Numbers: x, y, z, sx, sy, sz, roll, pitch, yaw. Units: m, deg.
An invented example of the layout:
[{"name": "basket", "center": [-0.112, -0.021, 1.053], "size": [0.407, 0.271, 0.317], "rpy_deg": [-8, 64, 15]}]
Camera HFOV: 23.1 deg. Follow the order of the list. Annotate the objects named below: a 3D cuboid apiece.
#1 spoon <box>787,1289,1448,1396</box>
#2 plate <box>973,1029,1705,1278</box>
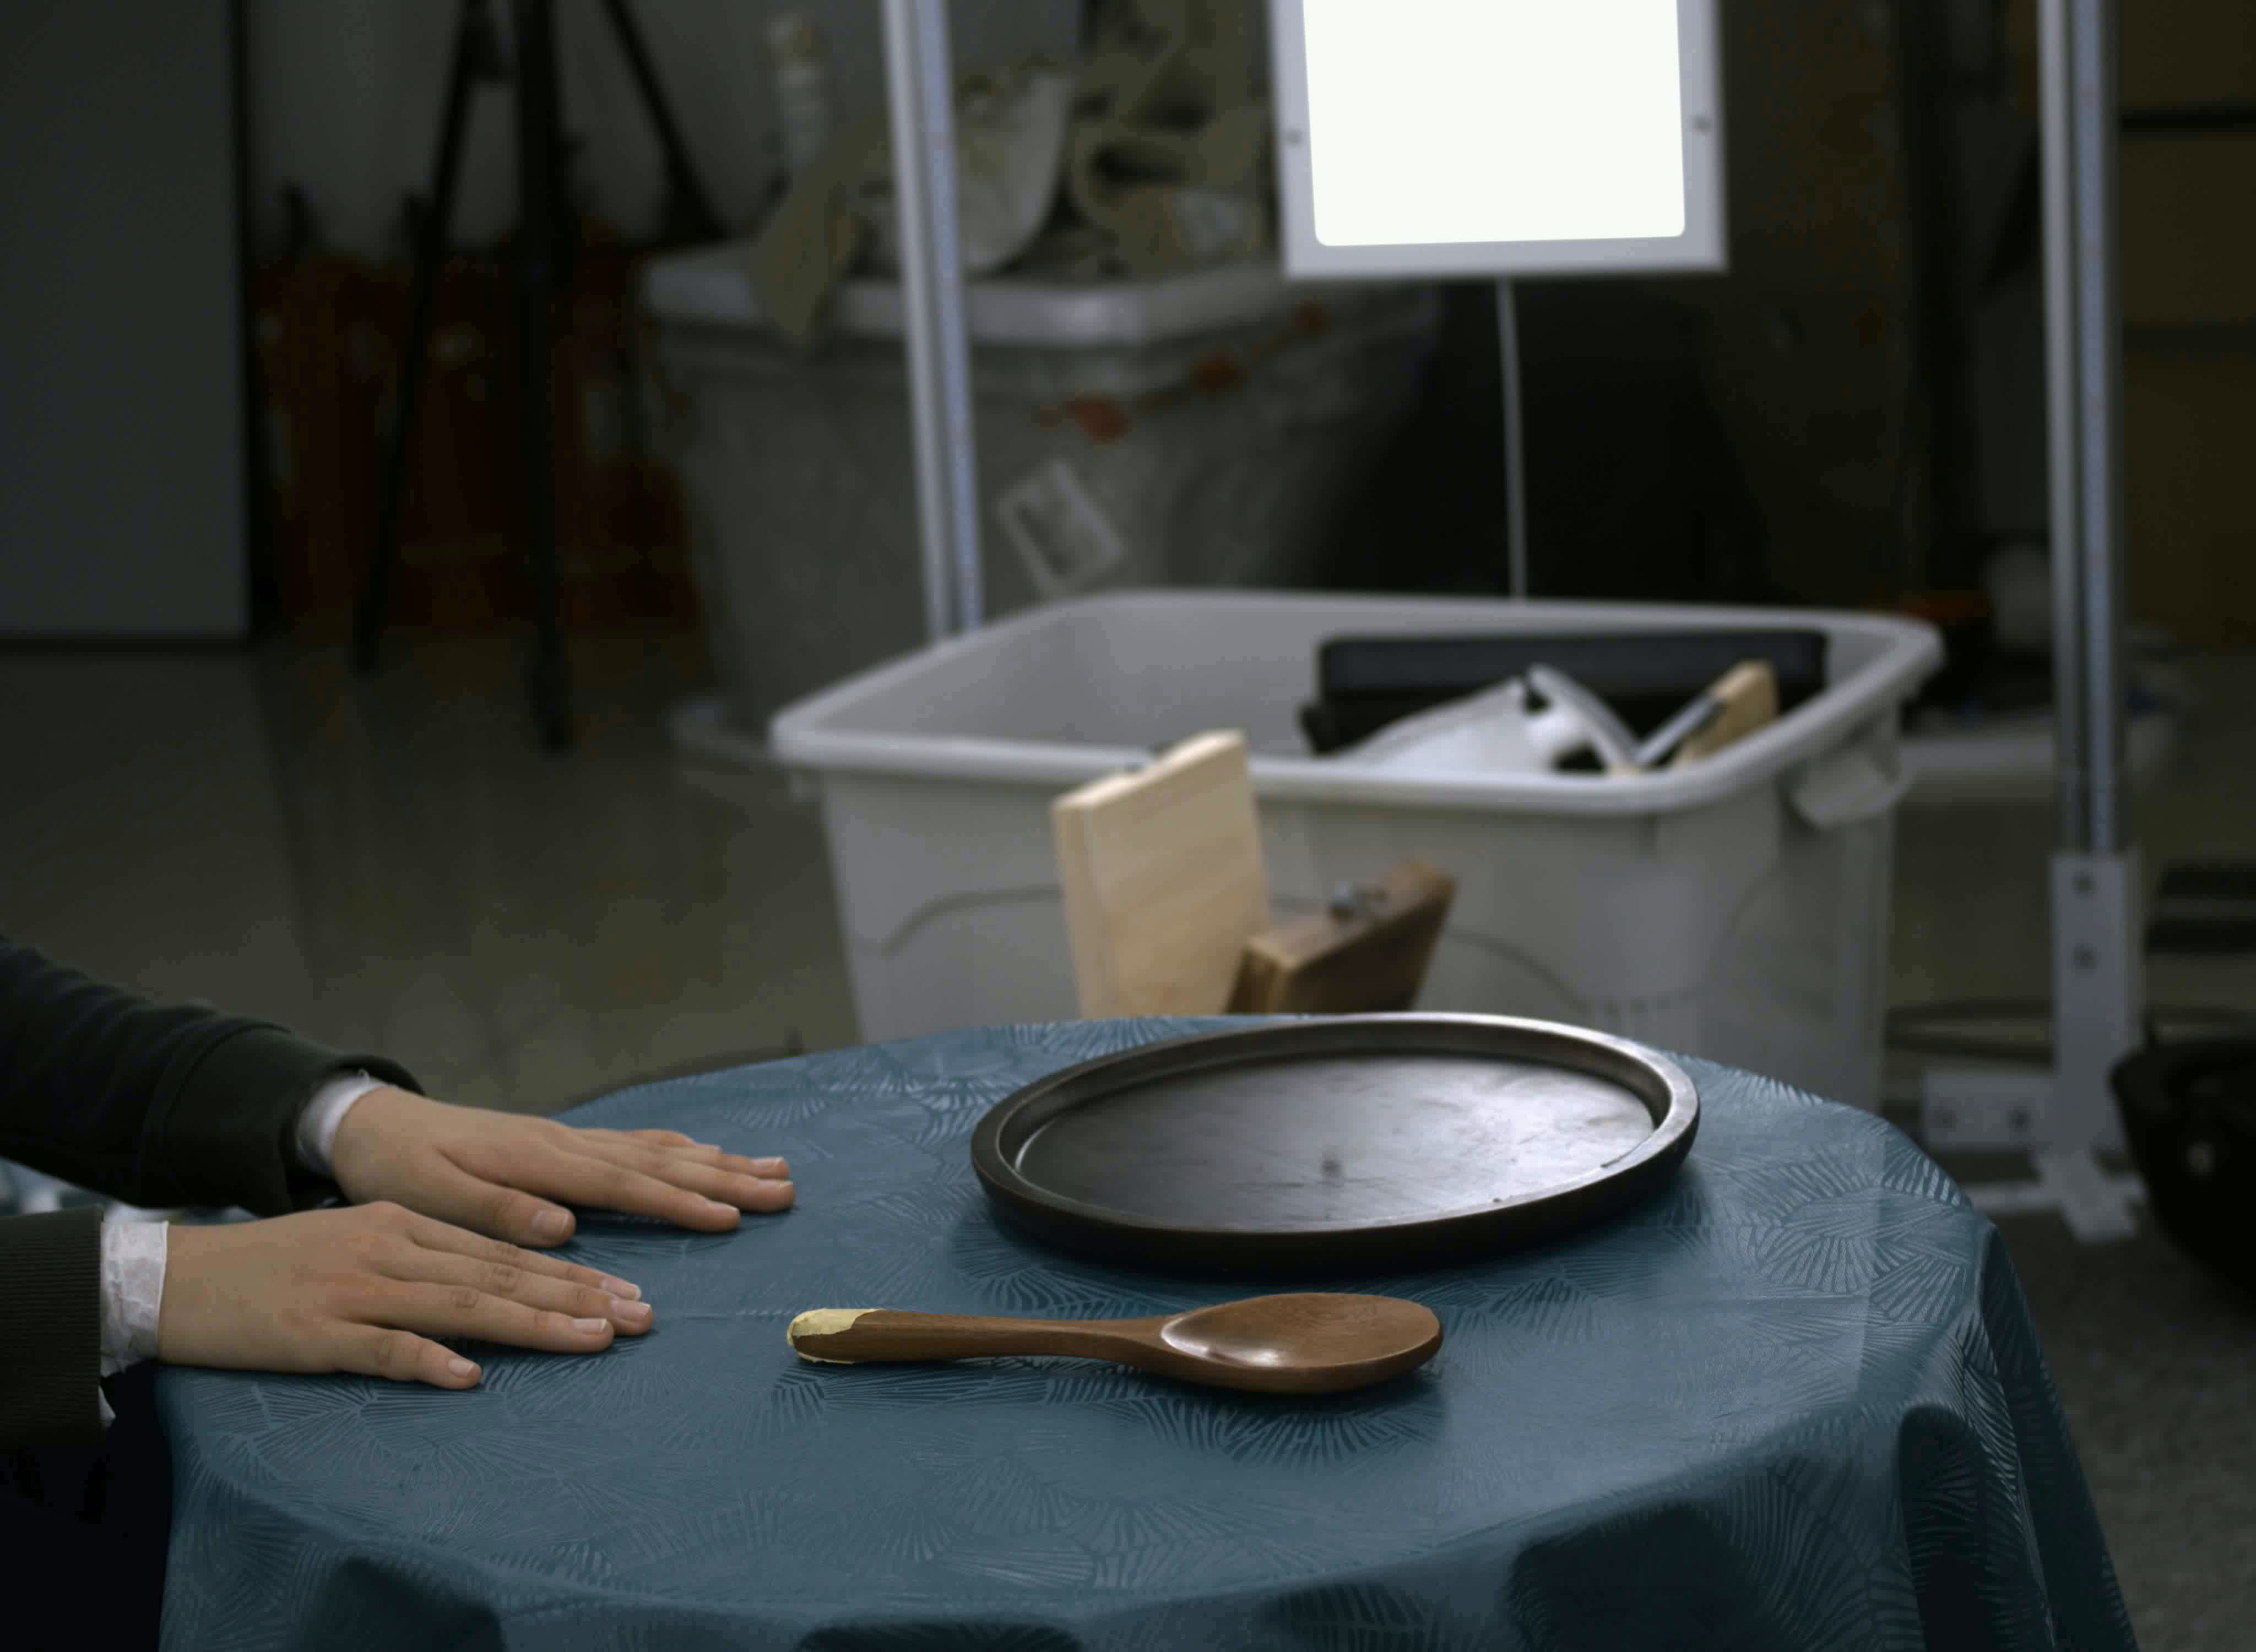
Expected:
[{"name": "spoon", "center": [-0.005, 0.161, 1.721], "size": [0.219, 0.017, 0.074], "rpy_deg": [0, 15, 20]}, {"name": "plate", "center": [0.072, 0.110, 1.894], "size": [0.254, 0.029, 0.254], "rpy_deg": [-4, 13, 0]}]
